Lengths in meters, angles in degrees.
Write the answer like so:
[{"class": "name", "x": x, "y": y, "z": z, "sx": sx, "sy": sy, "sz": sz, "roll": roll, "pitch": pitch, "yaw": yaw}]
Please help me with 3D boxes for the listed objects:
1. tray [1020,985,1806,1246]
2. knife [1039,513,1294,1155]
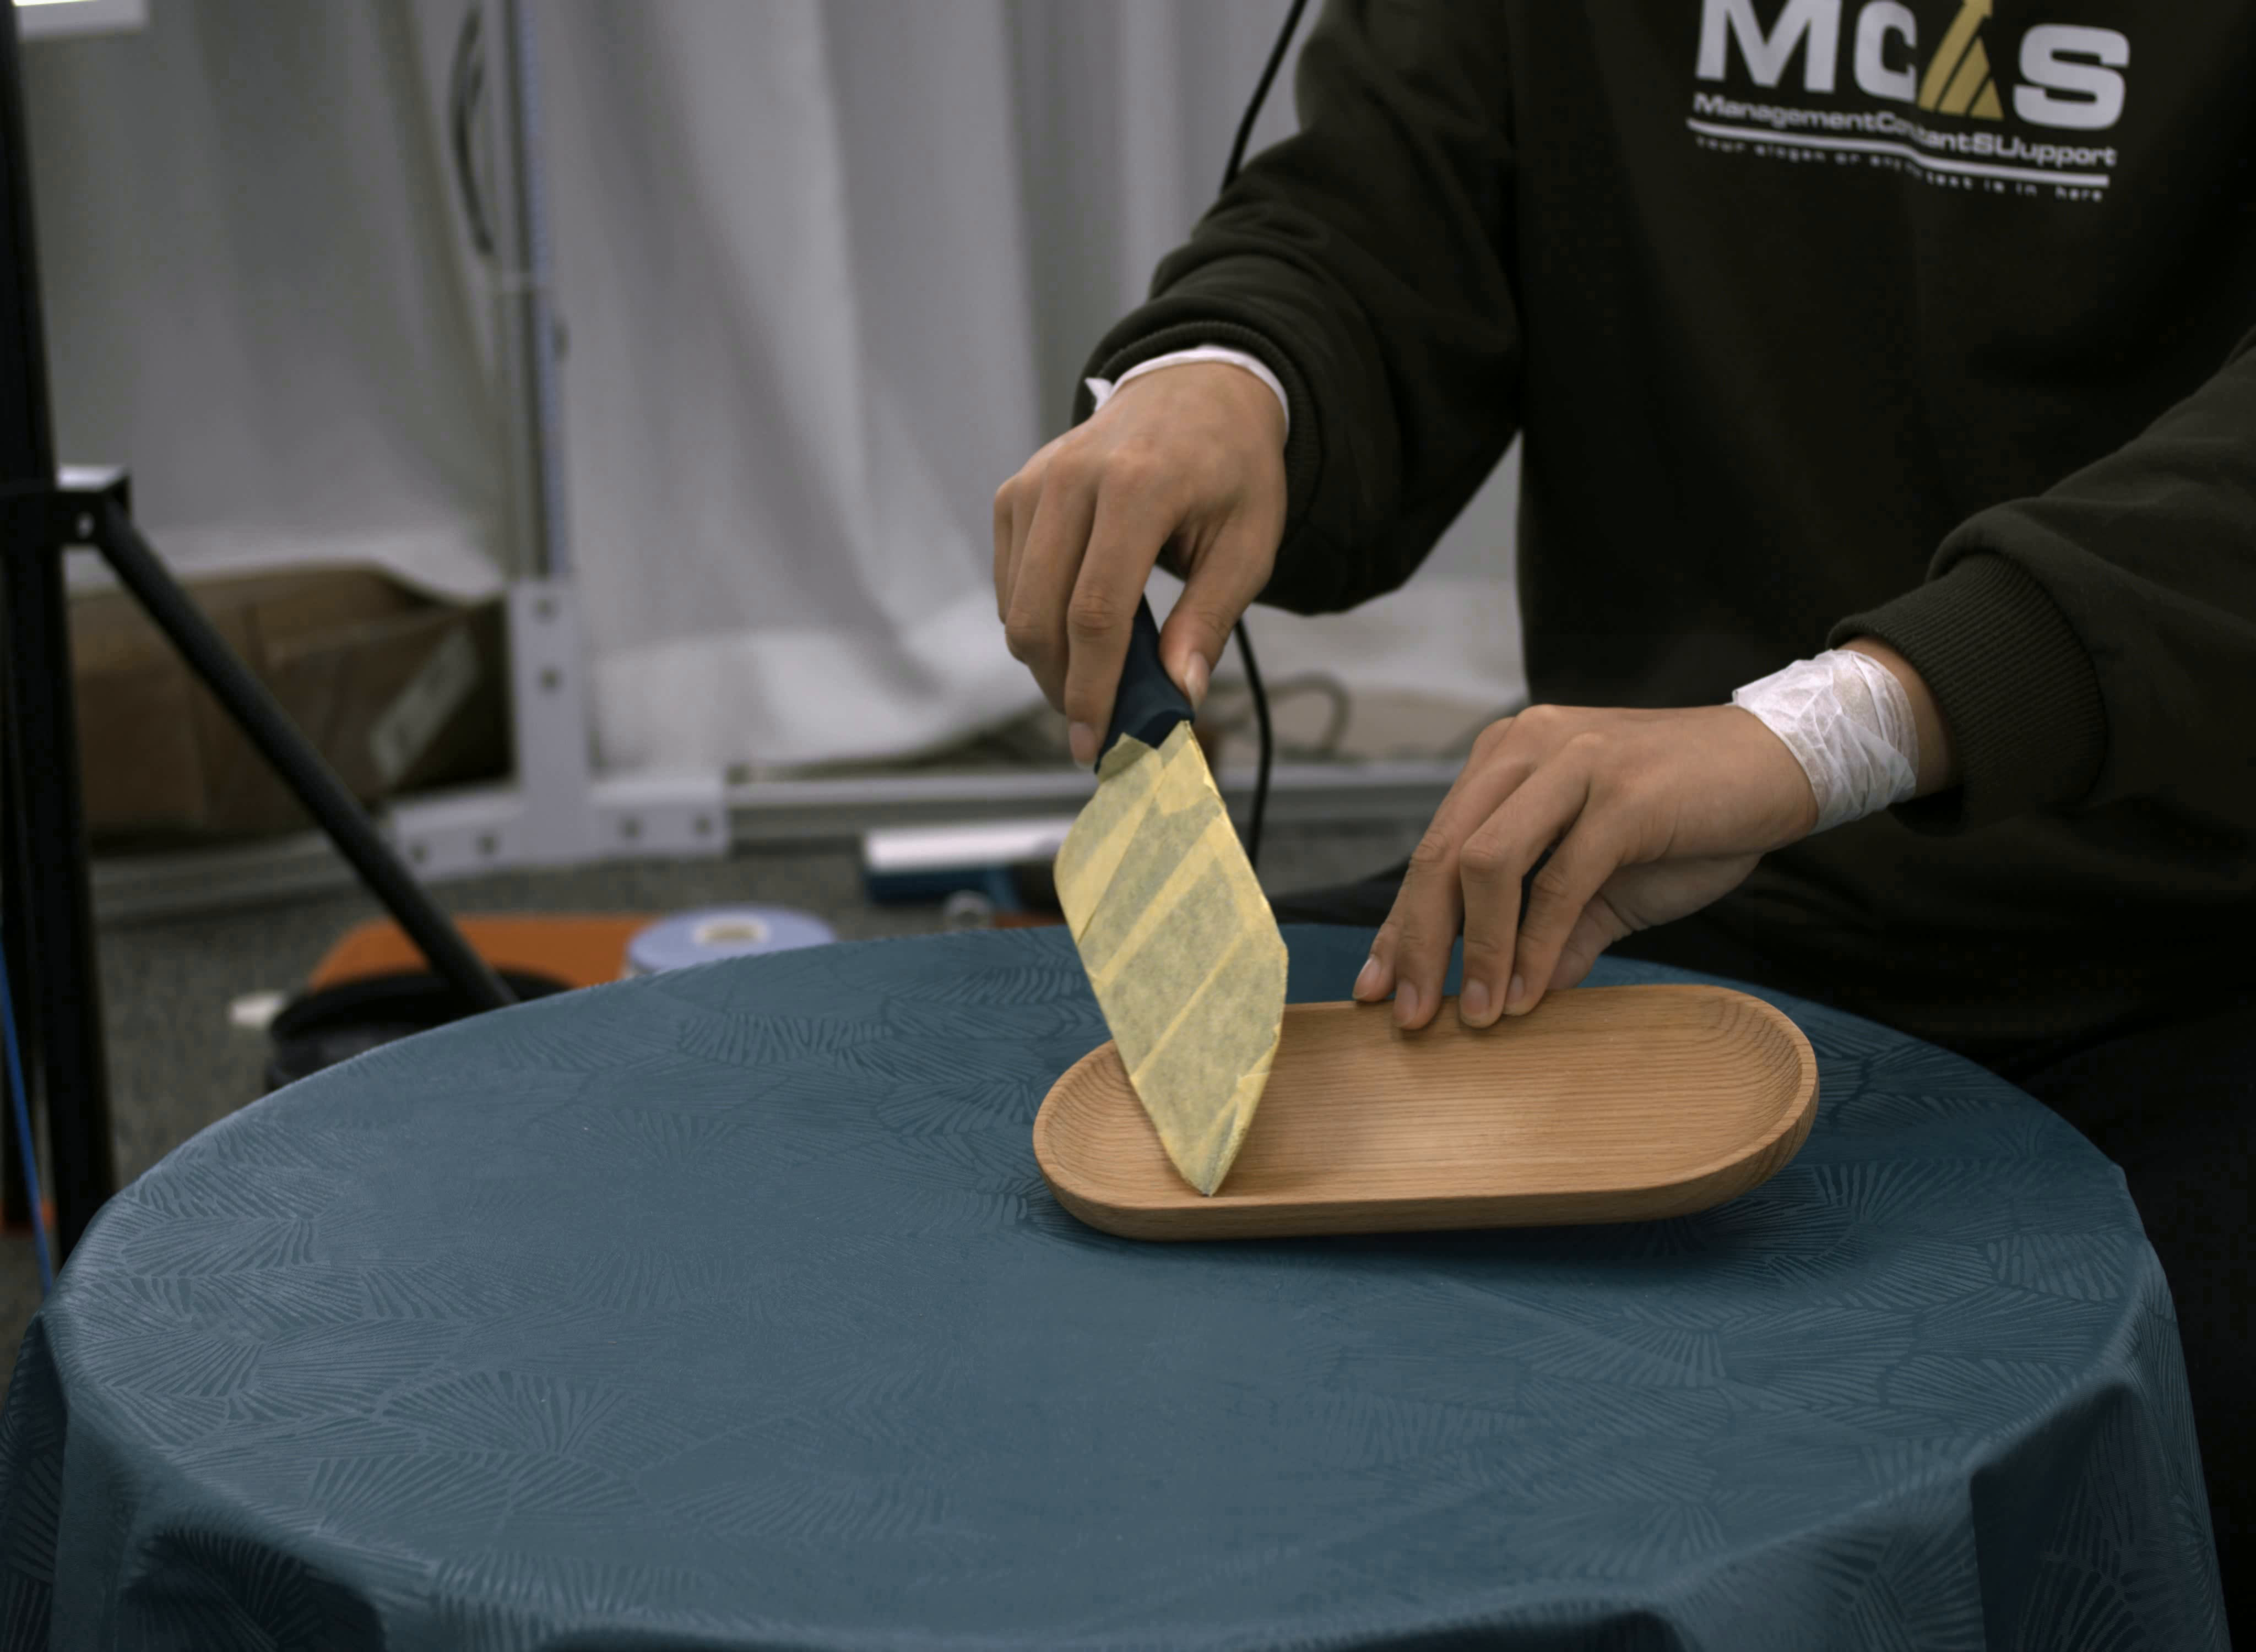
[{"class": "tray", "x": 0.082, "y": 0.085, "z": 1.533, "sx": 0.233, "sy": 0.020, "sz": 0.101, "roll": -5, "pitch": 30, "yaw": 17}, {"class": "knife", "x": 0.004, "y": -0.001, "z": 1.622, "sx": 0.026, "sy": 0.081, "sz": 0.294, "roll": 26, "pitch": 28, "yaw": -30}]
